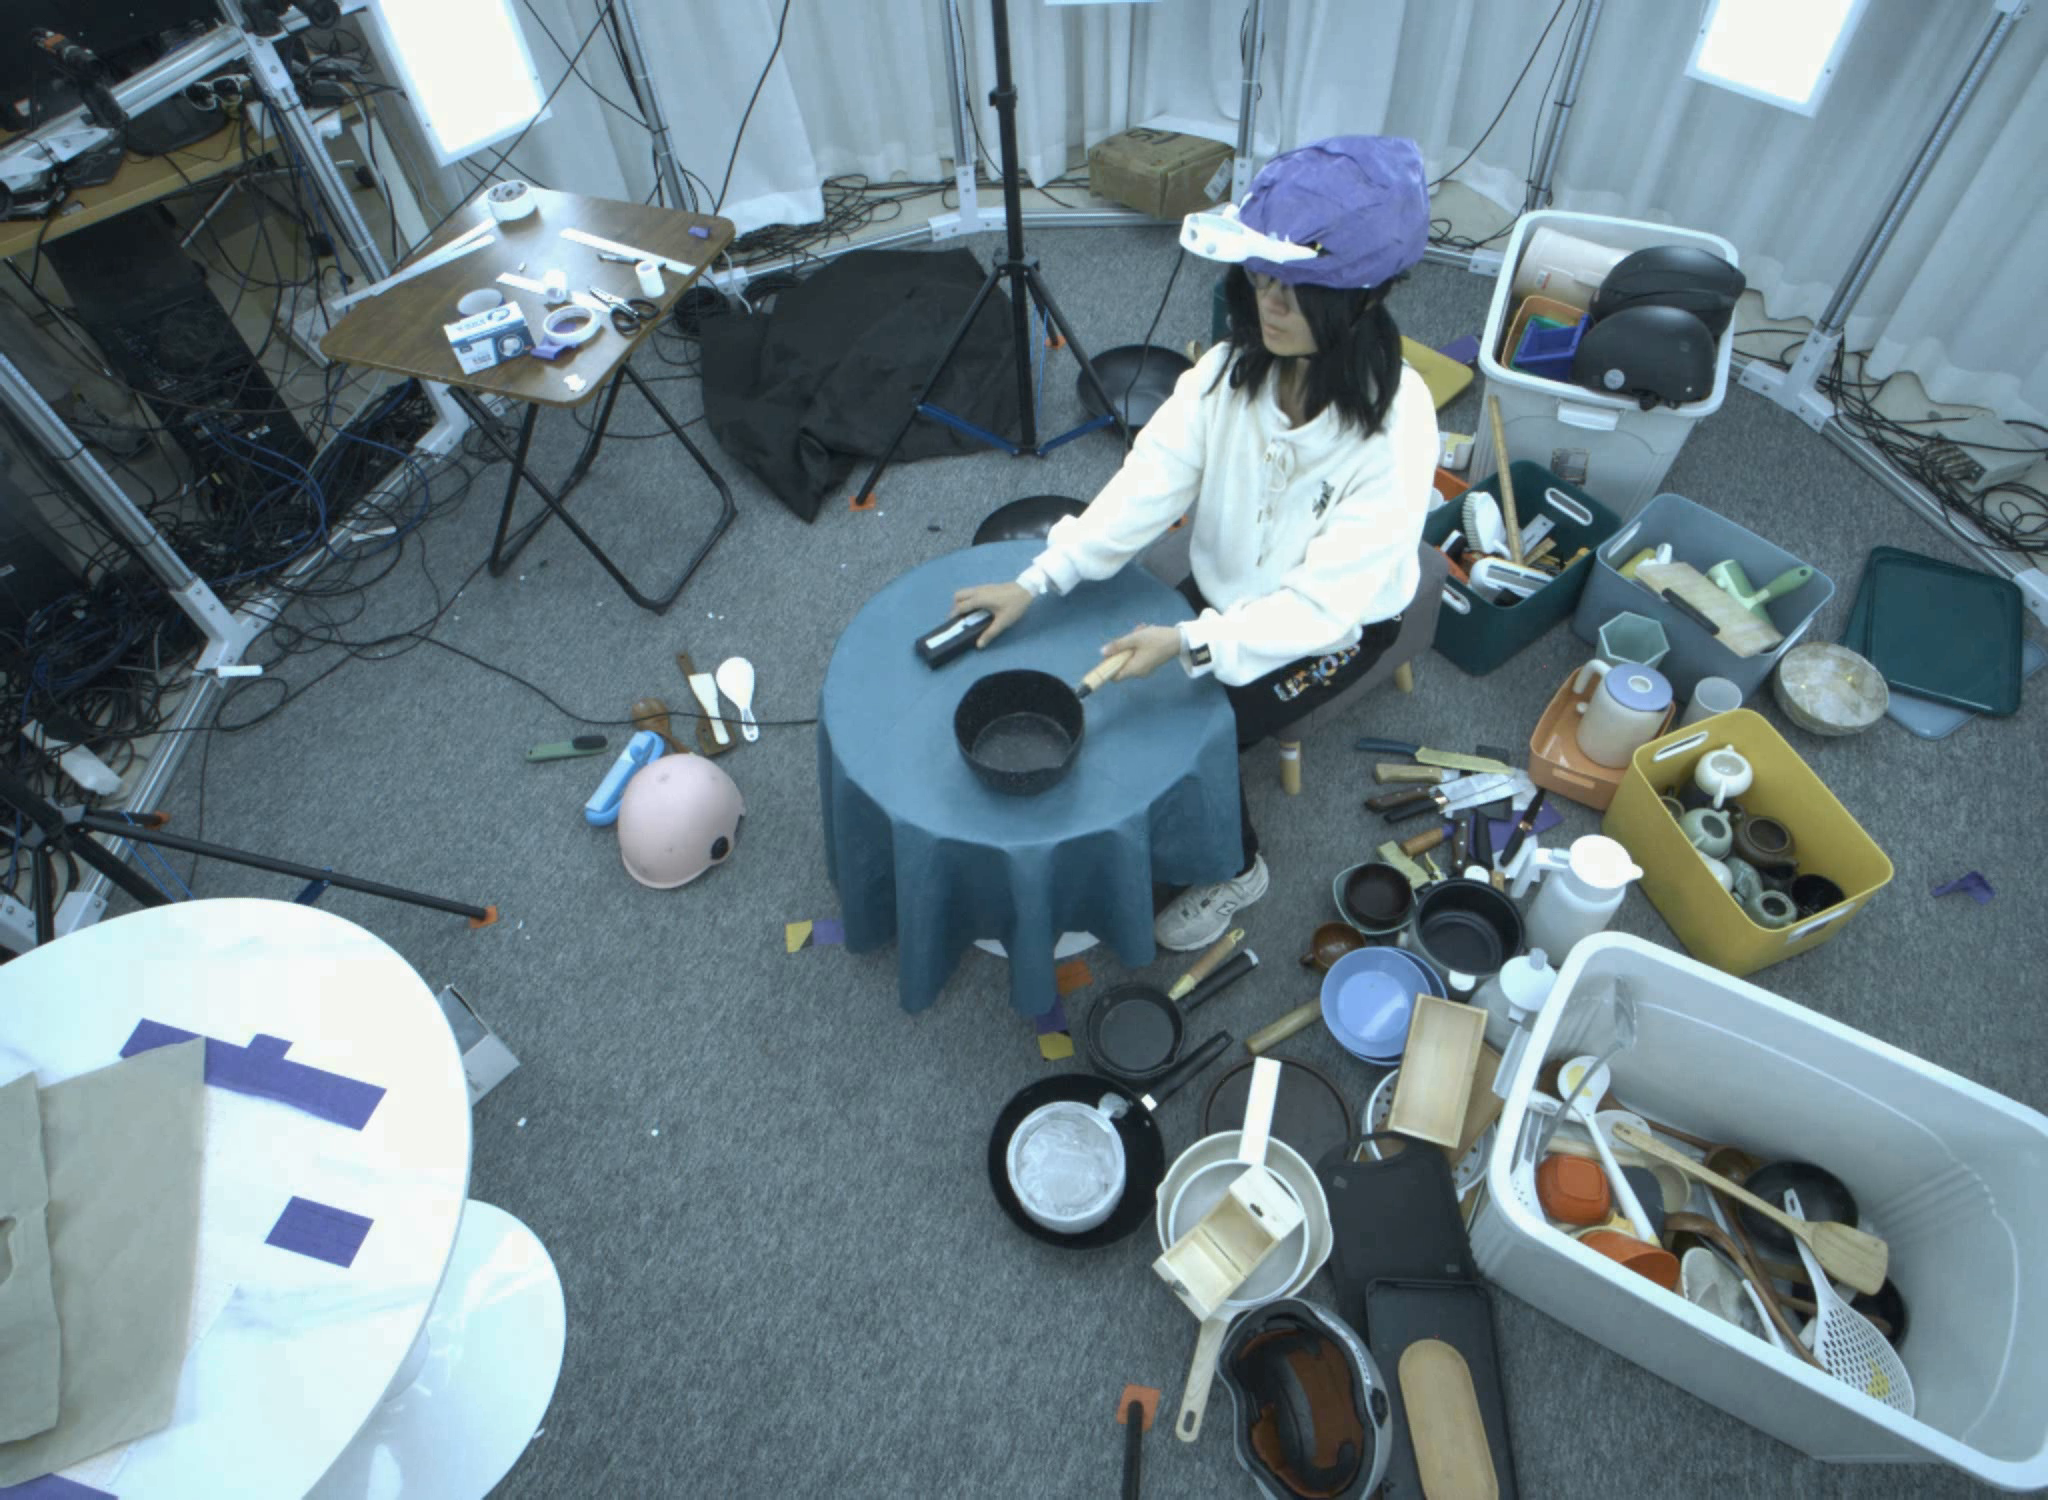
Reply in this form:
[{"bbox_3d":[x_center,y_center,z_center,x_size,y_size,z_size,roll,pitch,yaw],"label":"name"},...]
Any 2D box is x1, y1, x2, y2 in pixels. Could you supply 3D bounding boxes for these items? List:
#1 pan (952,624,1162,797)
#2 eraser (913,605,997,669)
[{"bbox_3d":[0.057,-0.066,1.766,0.345,0.109,0.203,-33,59,-18],"label":"pan"},{"bbox_3d":[-0.107,-0.175,1.898,0.126,0.031,0.052,-31,59,-19],"label":"eraser"}]
